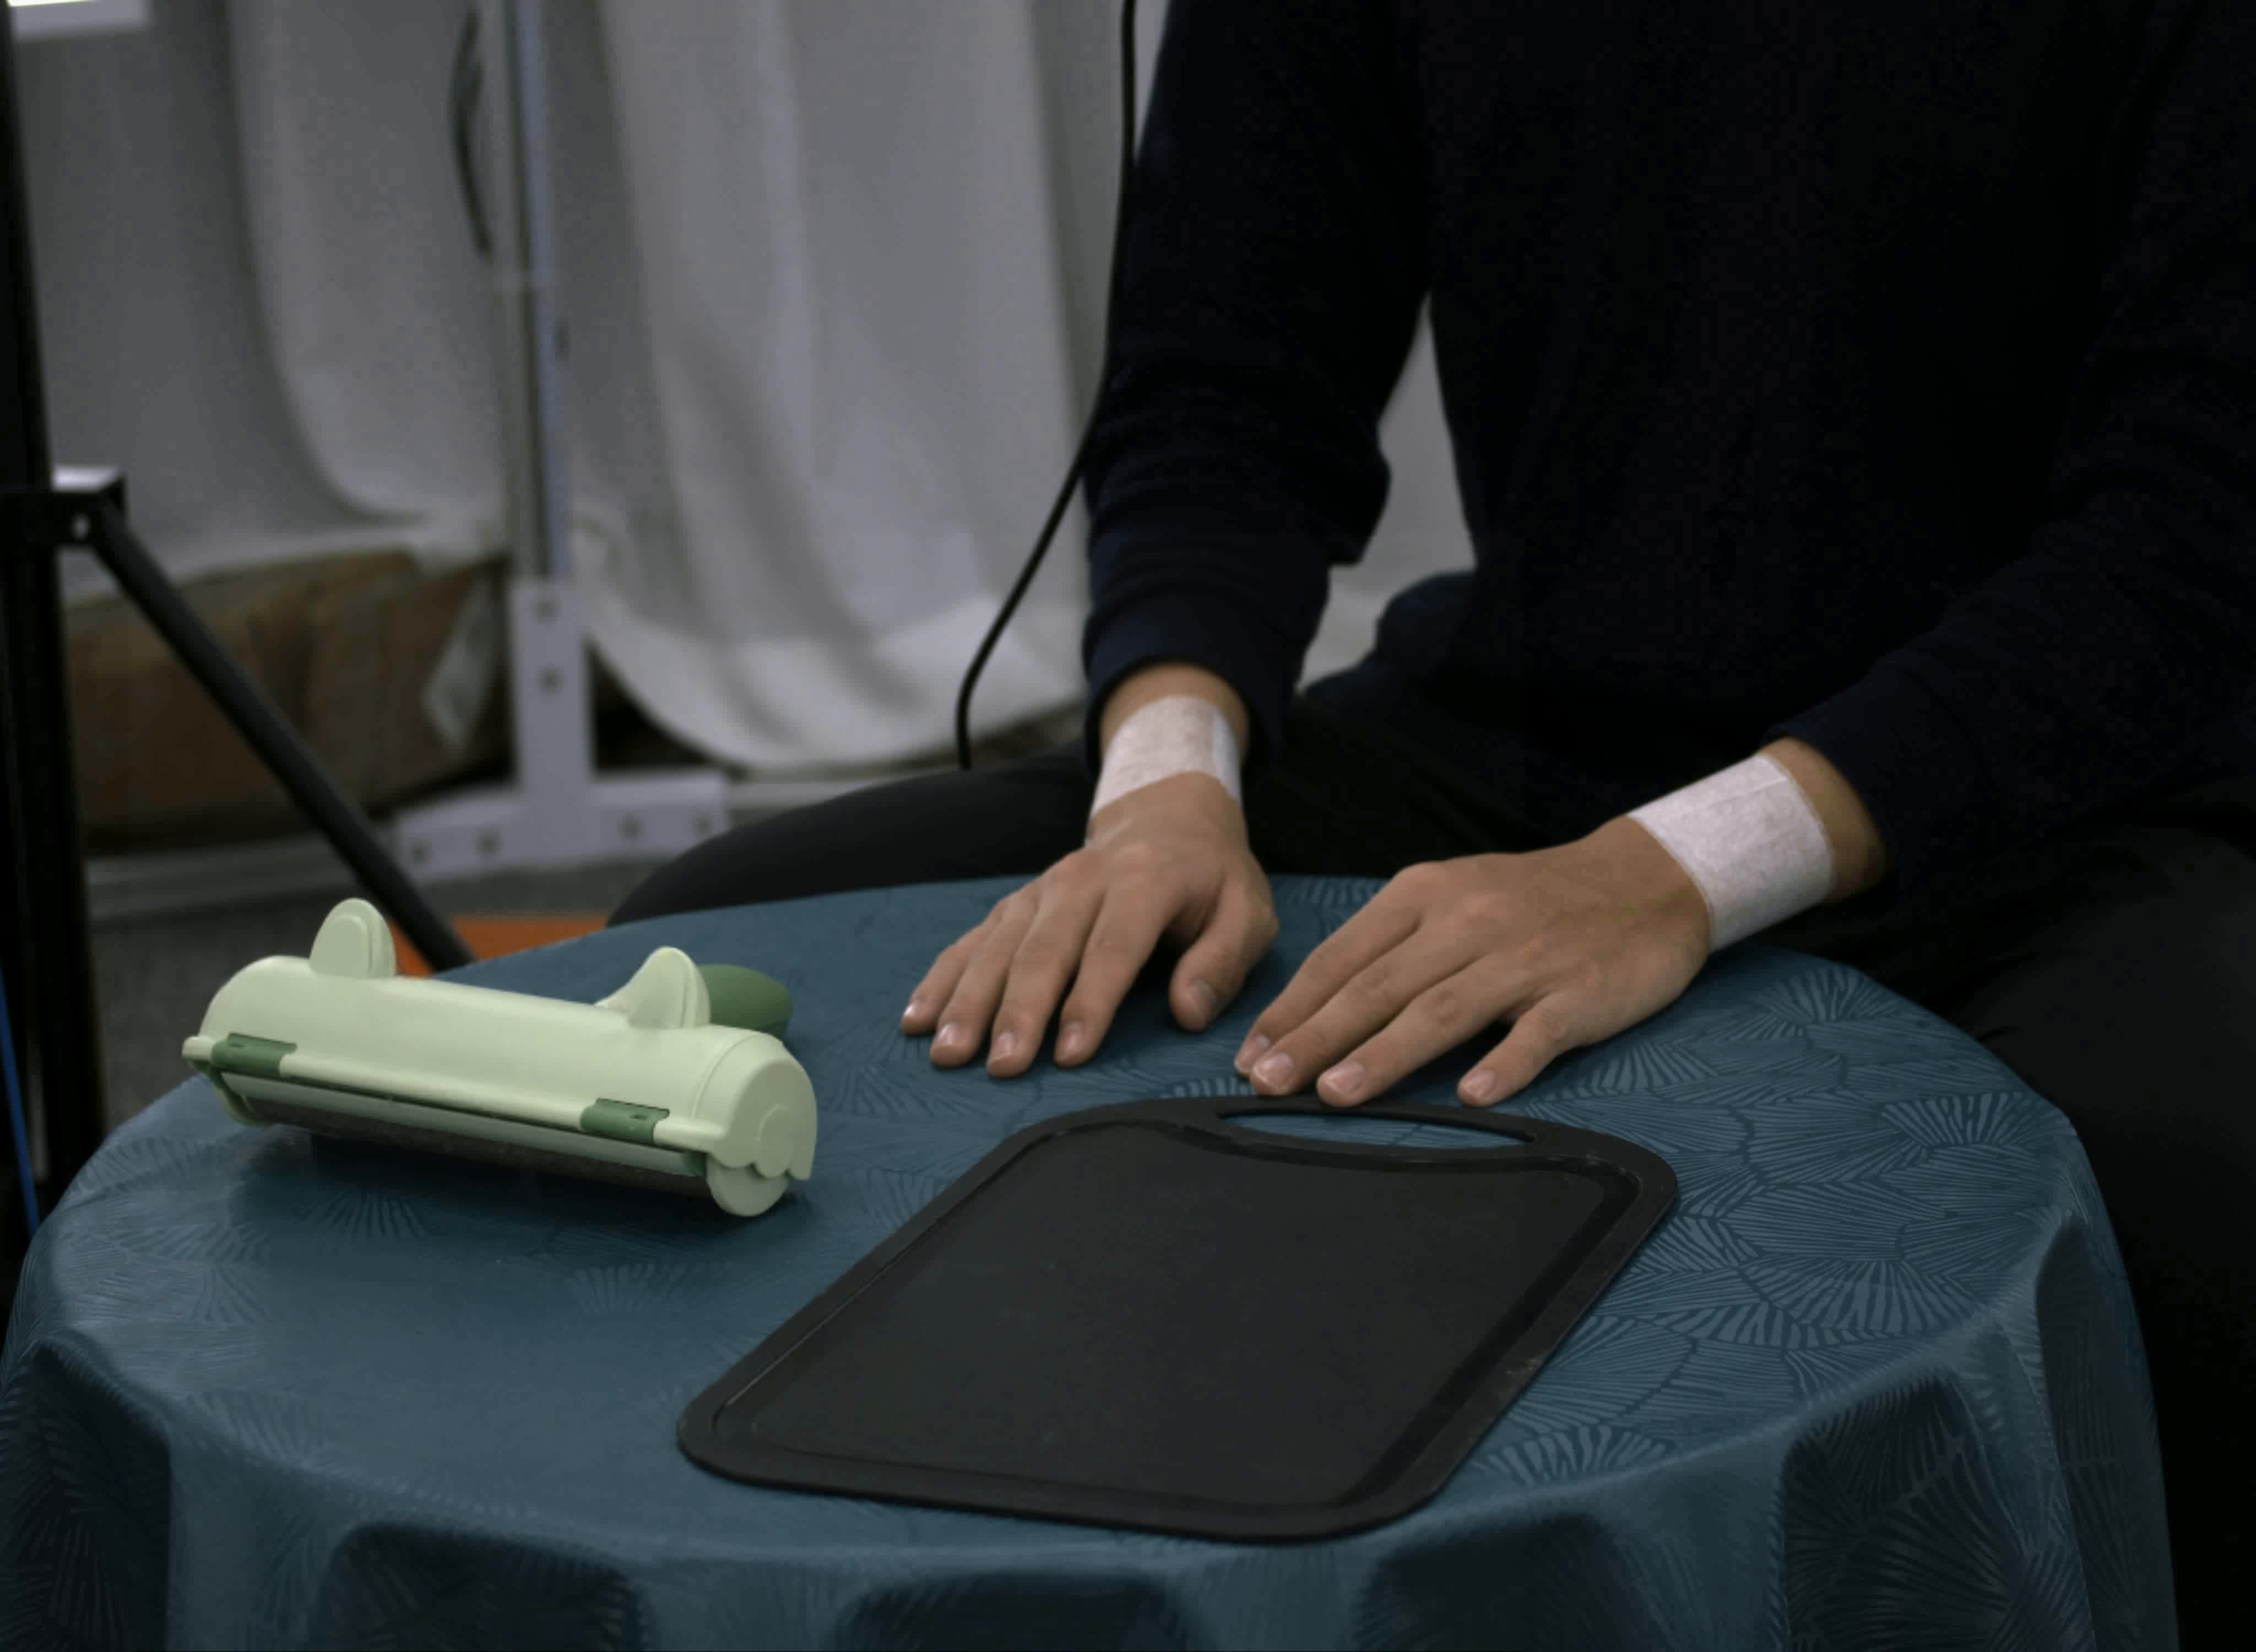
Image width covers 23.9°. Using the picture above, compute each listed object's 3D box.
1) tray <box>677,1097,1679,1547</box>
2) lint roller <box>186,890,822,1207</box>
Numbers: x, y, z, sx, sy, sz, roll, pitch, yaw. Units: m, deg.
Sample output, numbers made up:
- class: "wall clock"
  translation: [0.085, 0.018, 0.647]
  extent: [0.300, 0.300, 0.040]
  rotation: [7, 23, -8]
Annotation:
- class: "tray"
  translation: [0.024, 0.127, 1.473]
  extent: [0.214, 0.010, 0.321]
  rotation: [4, 17, 23]
- class: "lint roller"
  translation: [-0.160, 0.048, 1.637]
  extent: [0.202, 0.082, 0.180]
  rotation: [8, 25, 30]
